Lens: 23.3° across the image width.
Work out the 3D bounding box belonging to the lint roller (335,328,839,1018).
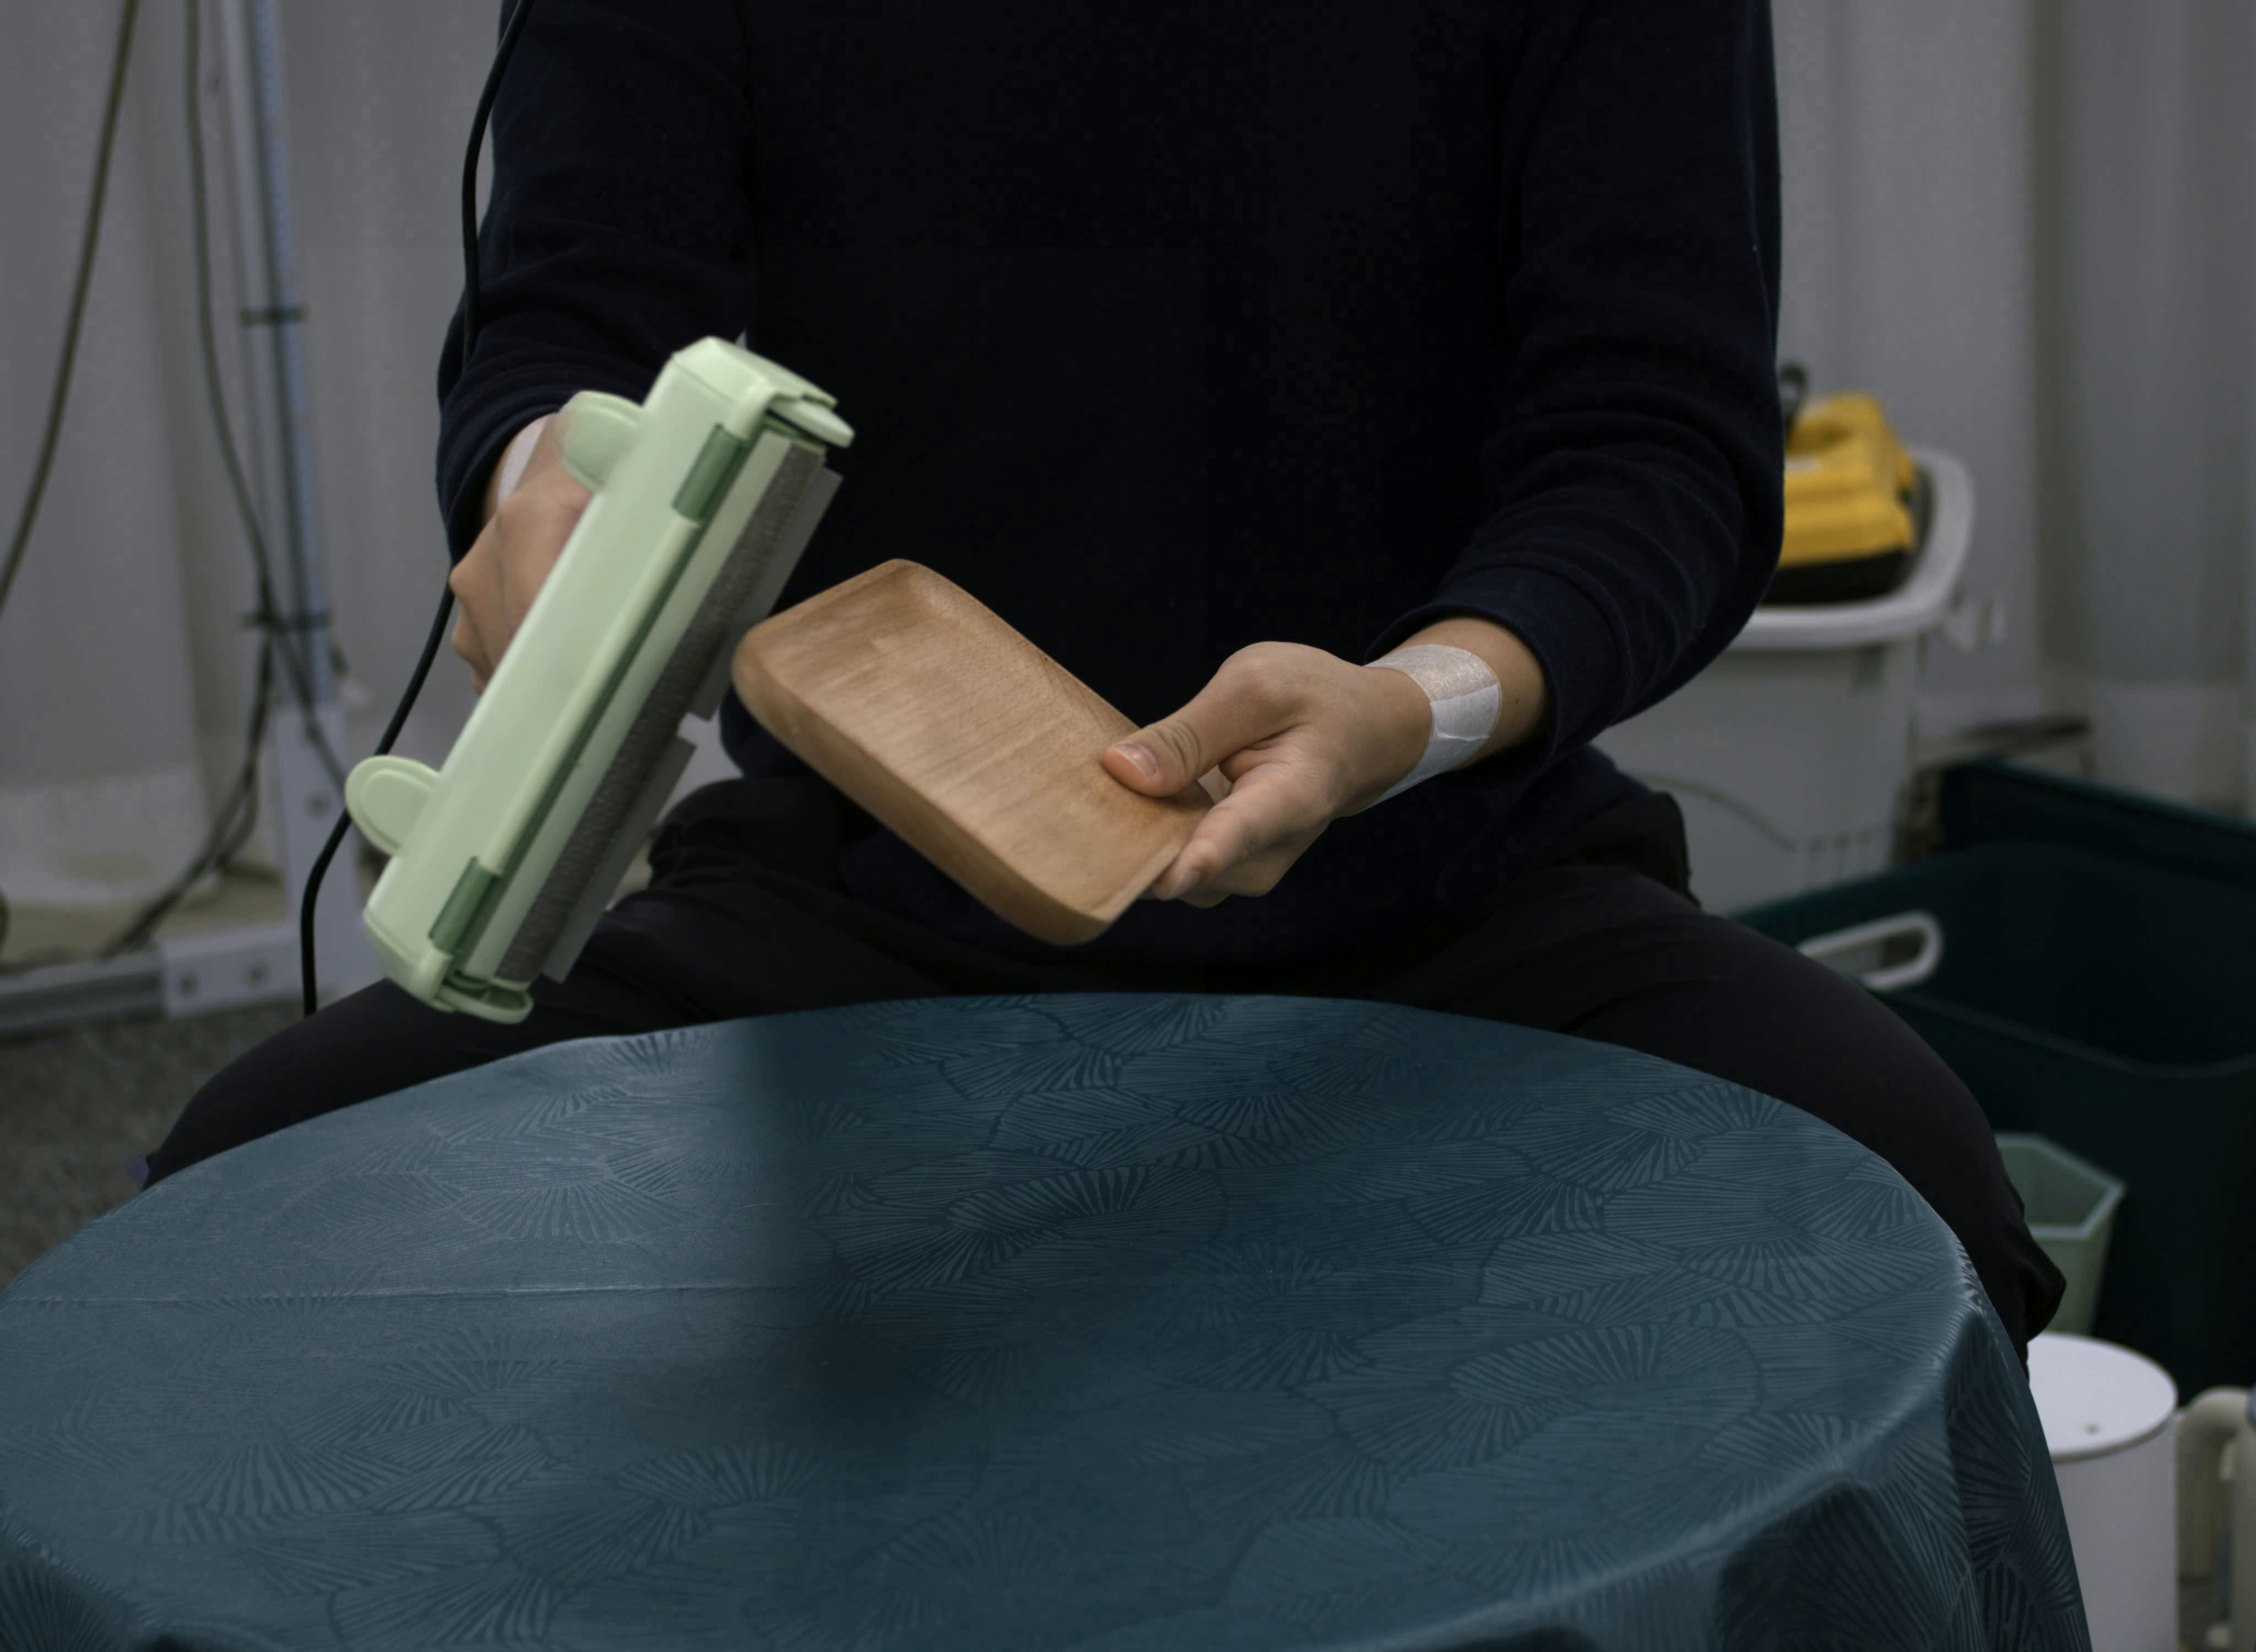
[{"bbox_3d":[-0.166,-0.059,1.552,0.081,0.198,0.185,28,6,-22],"label":"lint roller"}]

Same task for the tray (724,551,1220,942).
[{"bbox_3d":[-0.042,-0.025,1.572,0.130,0.023,0.251,41,12,3],"label":"tray"}]
